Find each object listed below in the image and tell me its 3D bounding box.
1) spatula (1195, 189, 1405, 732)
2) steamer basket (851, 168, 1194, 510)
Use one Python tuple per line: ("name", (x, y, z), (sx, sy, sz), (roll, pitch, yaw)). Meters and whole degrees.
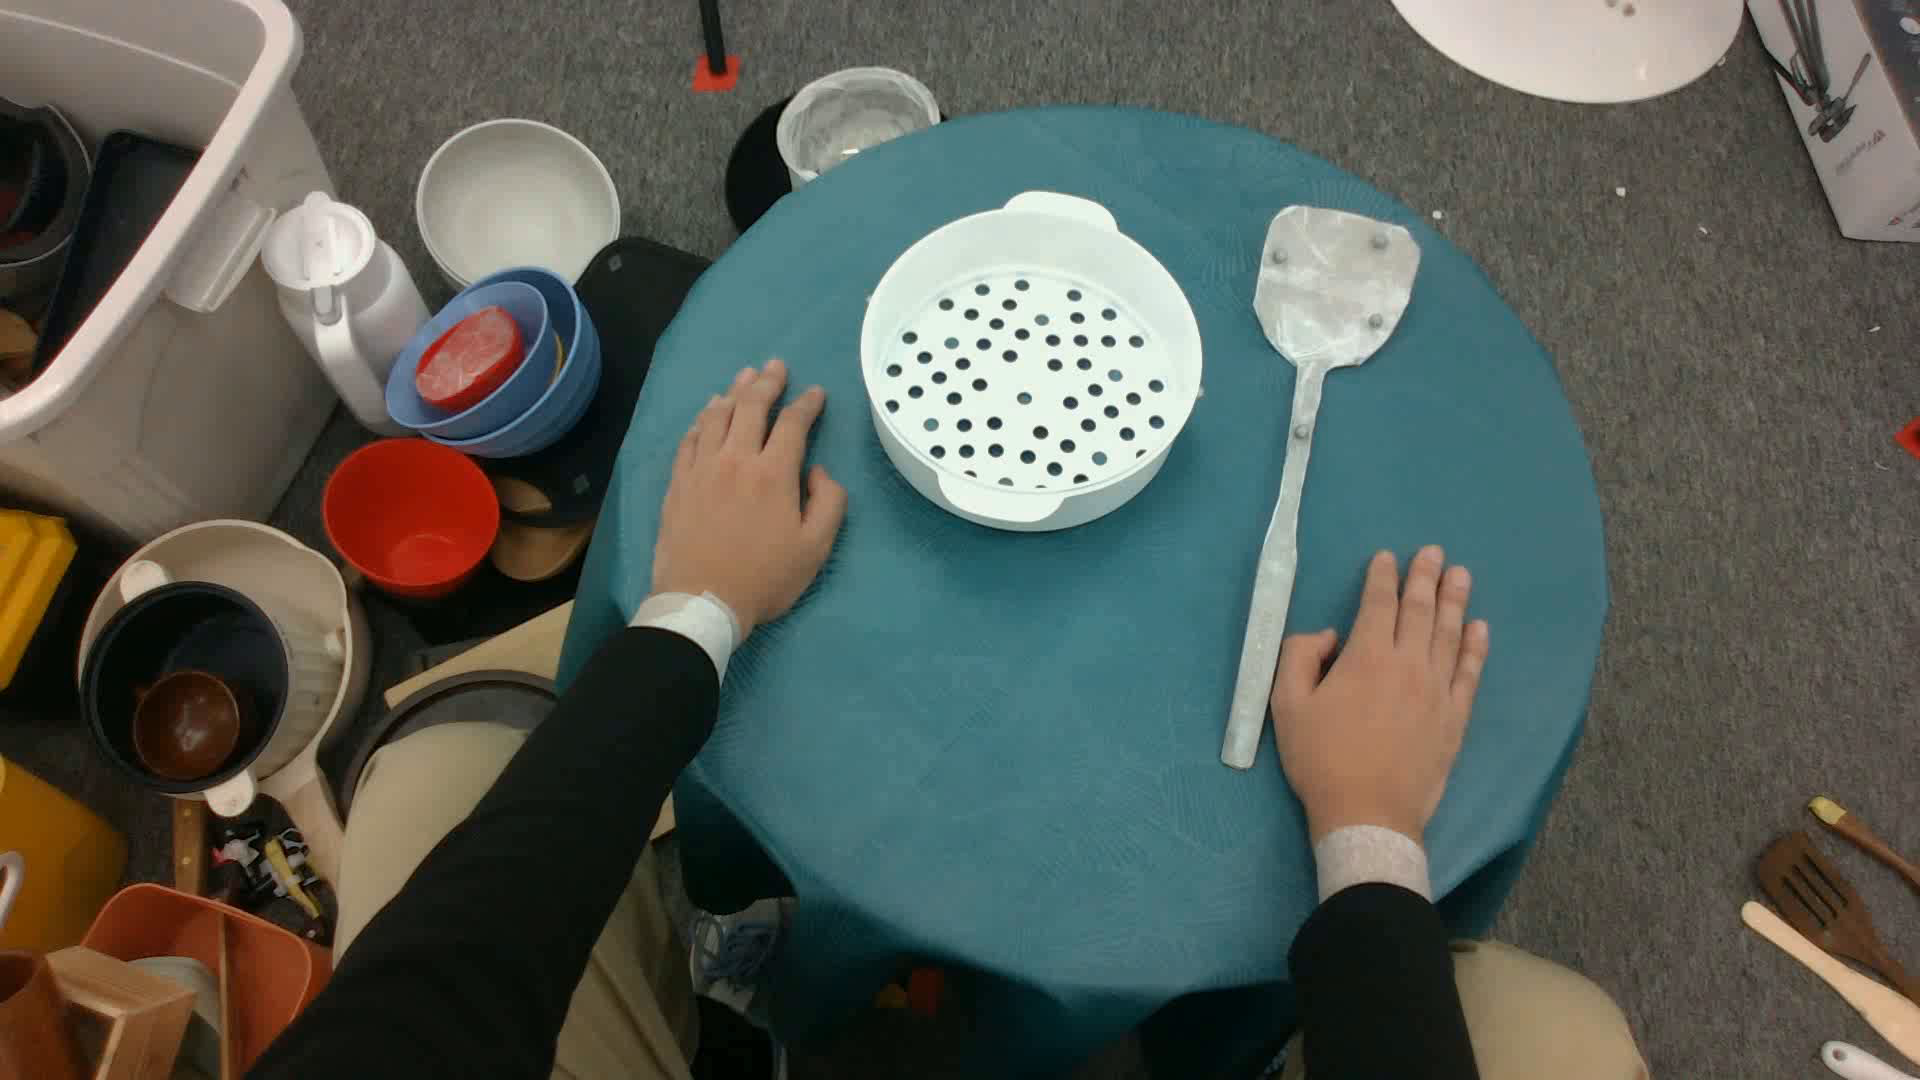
("spatula", (0.194, -0.055, 0.832), (0.098, 0.044, 0.366), (16, 65, 2))
("steamer basket", (0.037, -0.115, 0.834), (0.202, 0.069, 0.231), (12, 66, 4))
